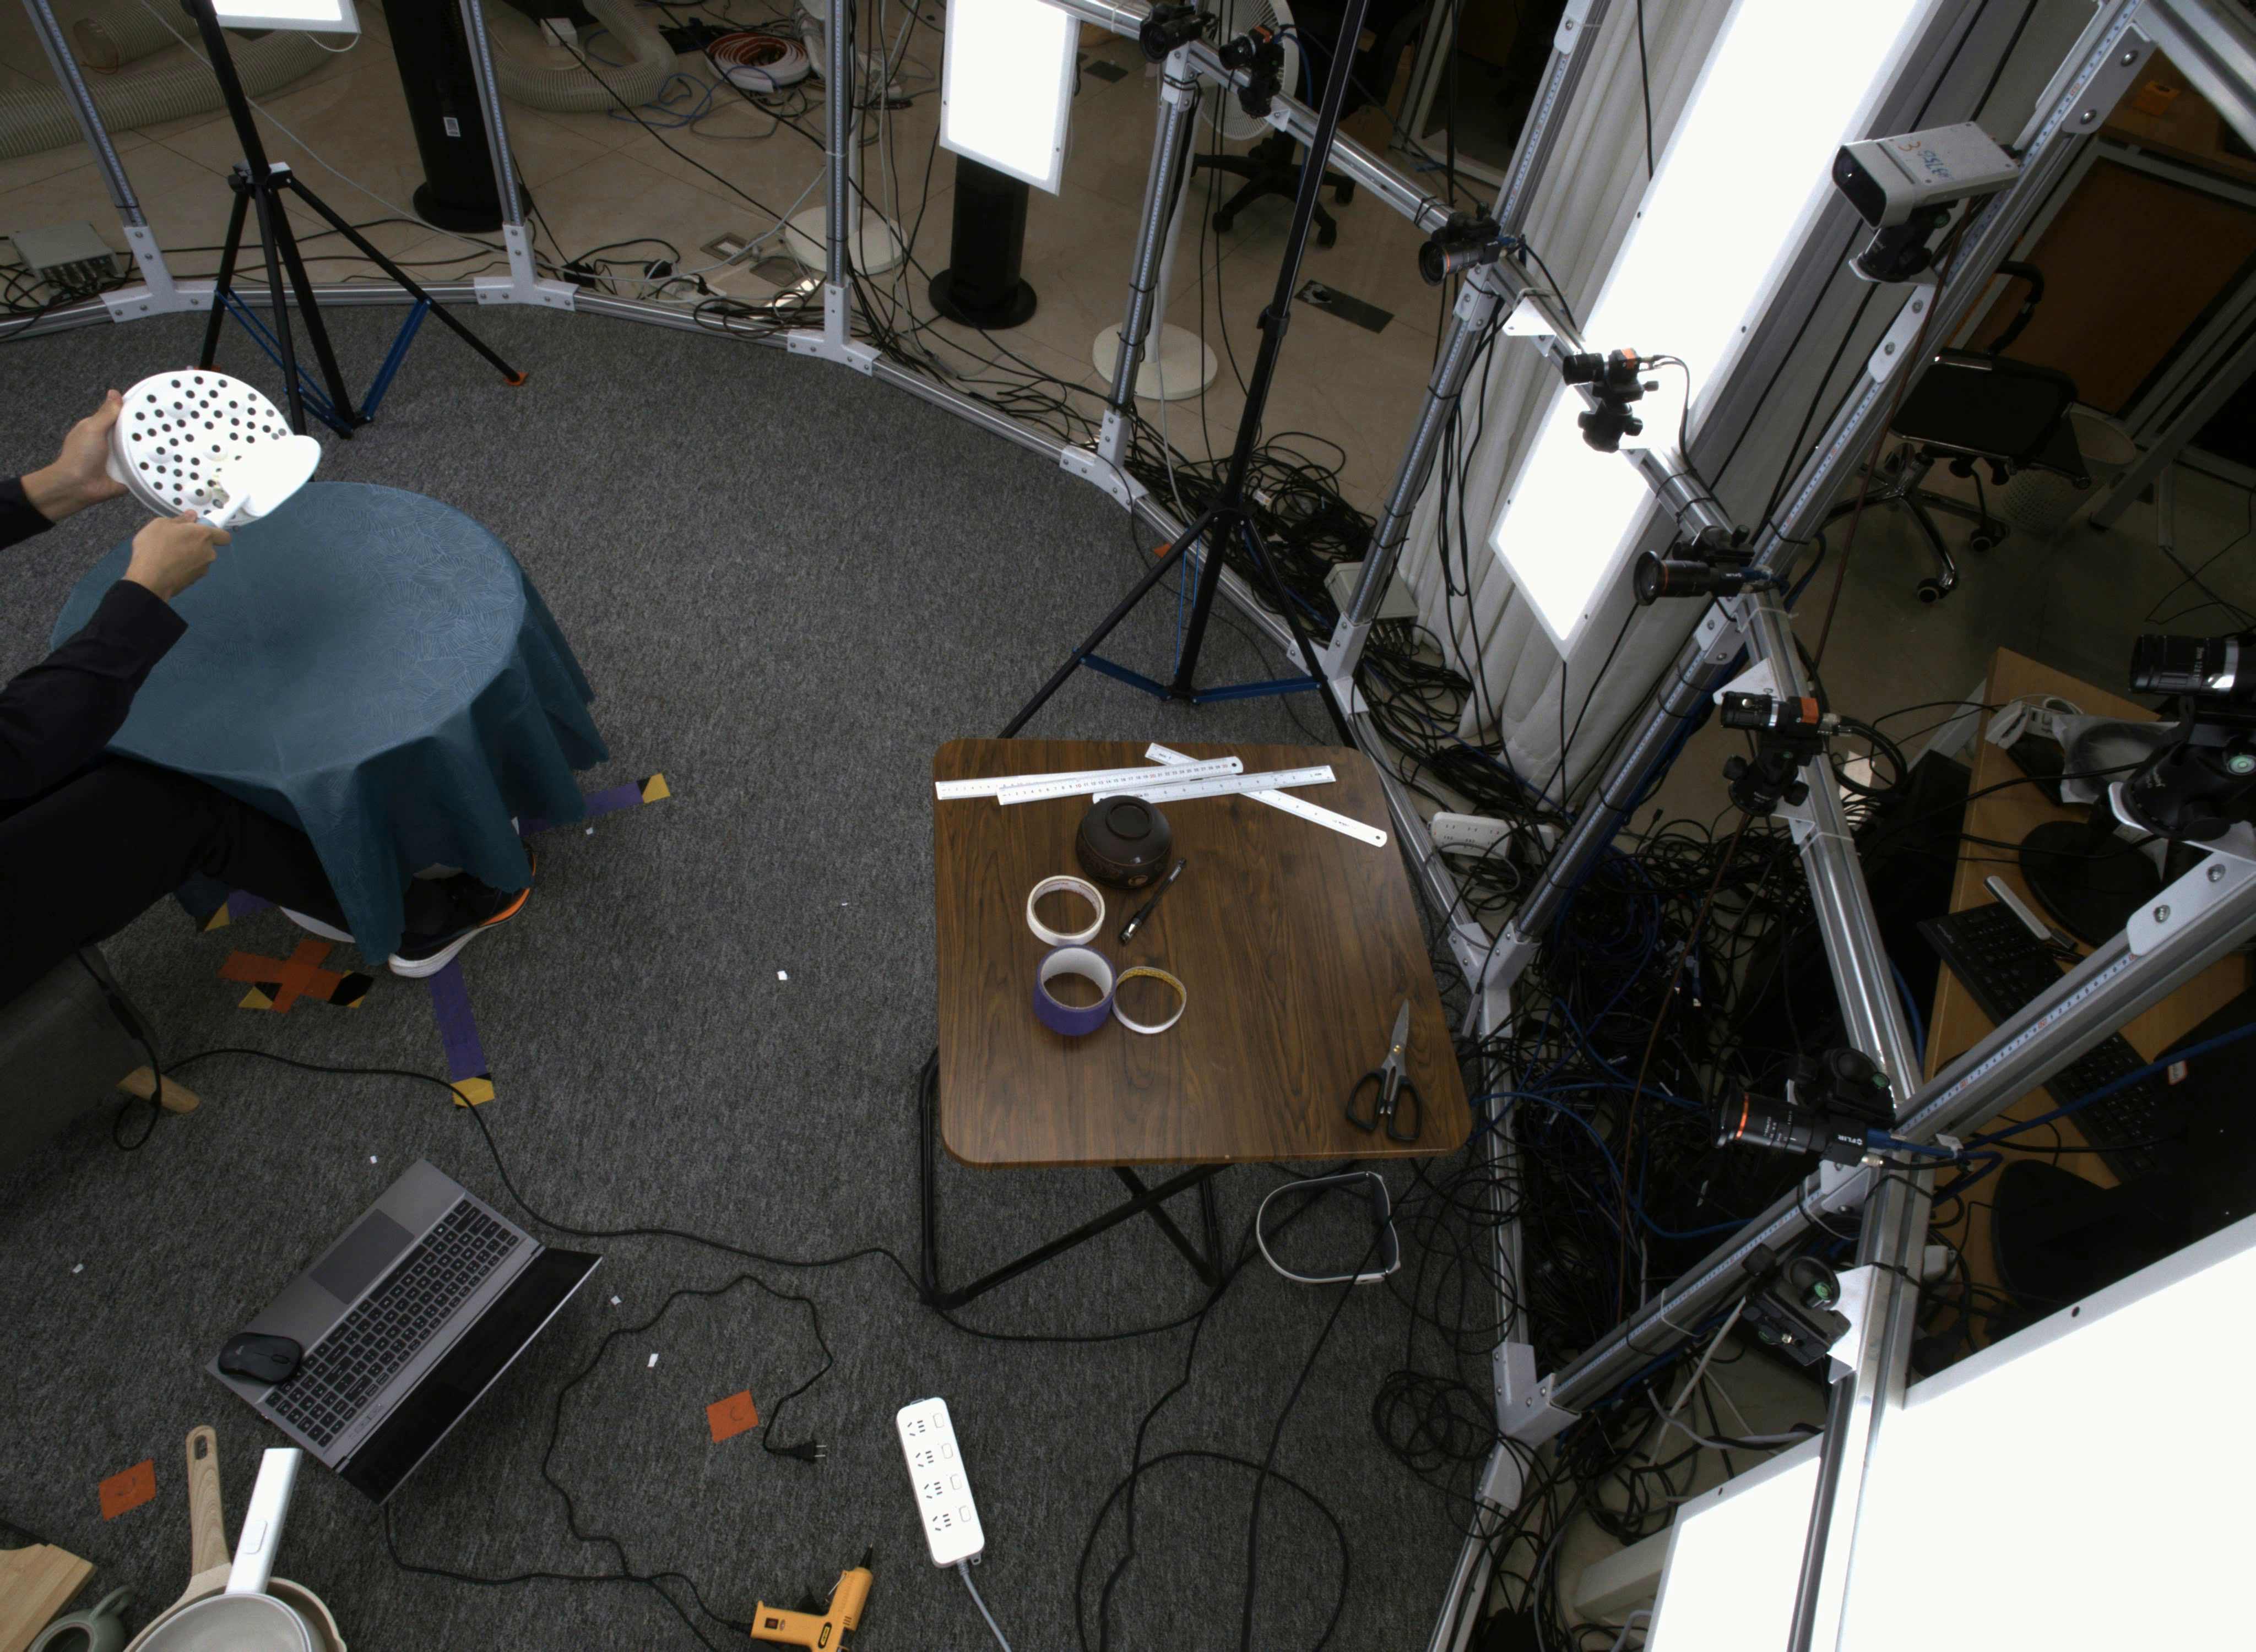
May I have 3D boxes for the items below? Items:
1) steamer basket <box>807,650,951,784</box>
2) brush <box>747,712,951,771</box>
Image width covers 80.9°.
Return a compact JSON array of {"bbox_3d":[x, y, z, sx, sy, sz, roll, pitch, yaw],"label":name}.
[{"bbox_3d":[-0.382,-0.171,2.027,0.234,0.202,0.068,18,-16,-21],"label":"steamer basket"},{"bbox_3d":[-0.417,-0.119,1.931,0.328,0.086,0.080,-15,49,-33],"label":"brush"}]
